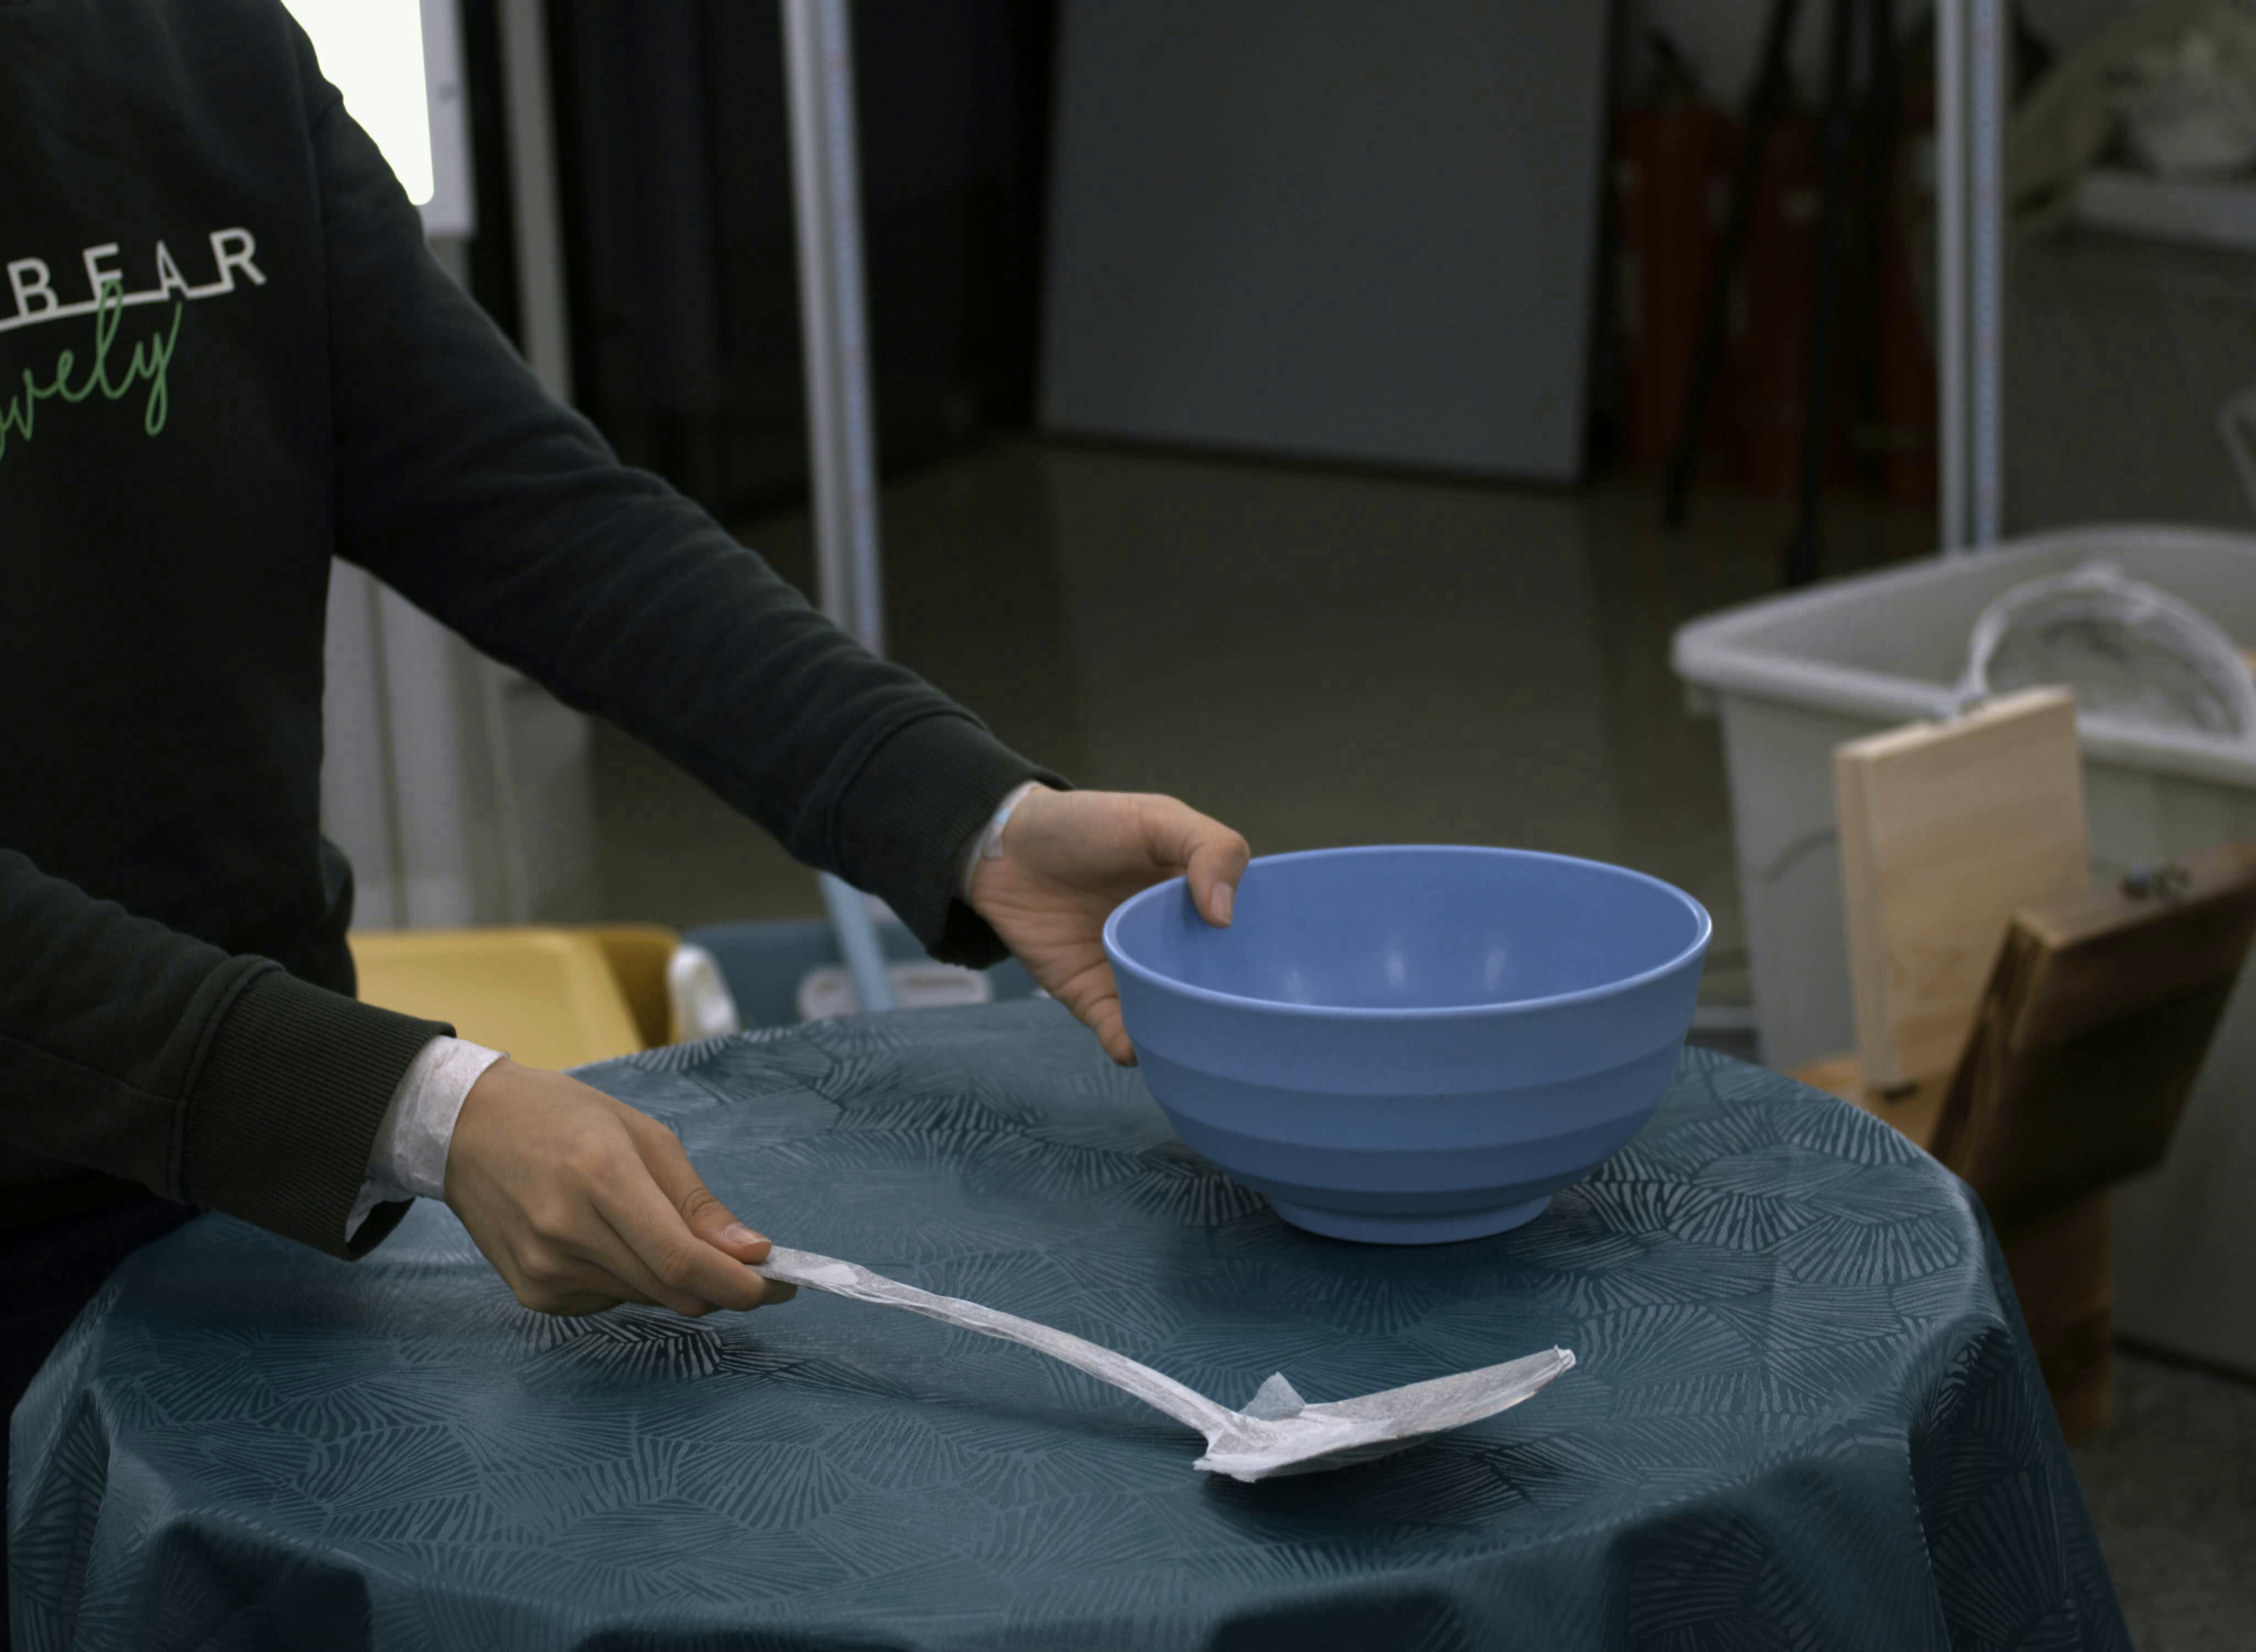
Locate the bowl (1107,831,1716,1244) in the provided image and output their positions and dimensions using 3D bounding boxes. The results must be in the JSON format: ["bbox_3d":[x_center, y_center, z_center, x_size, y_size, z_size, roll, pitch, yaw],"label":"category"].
[{"bbox_3d":[0.090,0.074,1.727,0.194,0.096,0.197,-1,15,-1],"label":"bowl"}]

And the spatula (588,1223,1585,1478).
[{"bbox_3d":[-0.033,0.143,1.582,0.367,0.045,0.097,12,20,37],"label":"spatula"}]
